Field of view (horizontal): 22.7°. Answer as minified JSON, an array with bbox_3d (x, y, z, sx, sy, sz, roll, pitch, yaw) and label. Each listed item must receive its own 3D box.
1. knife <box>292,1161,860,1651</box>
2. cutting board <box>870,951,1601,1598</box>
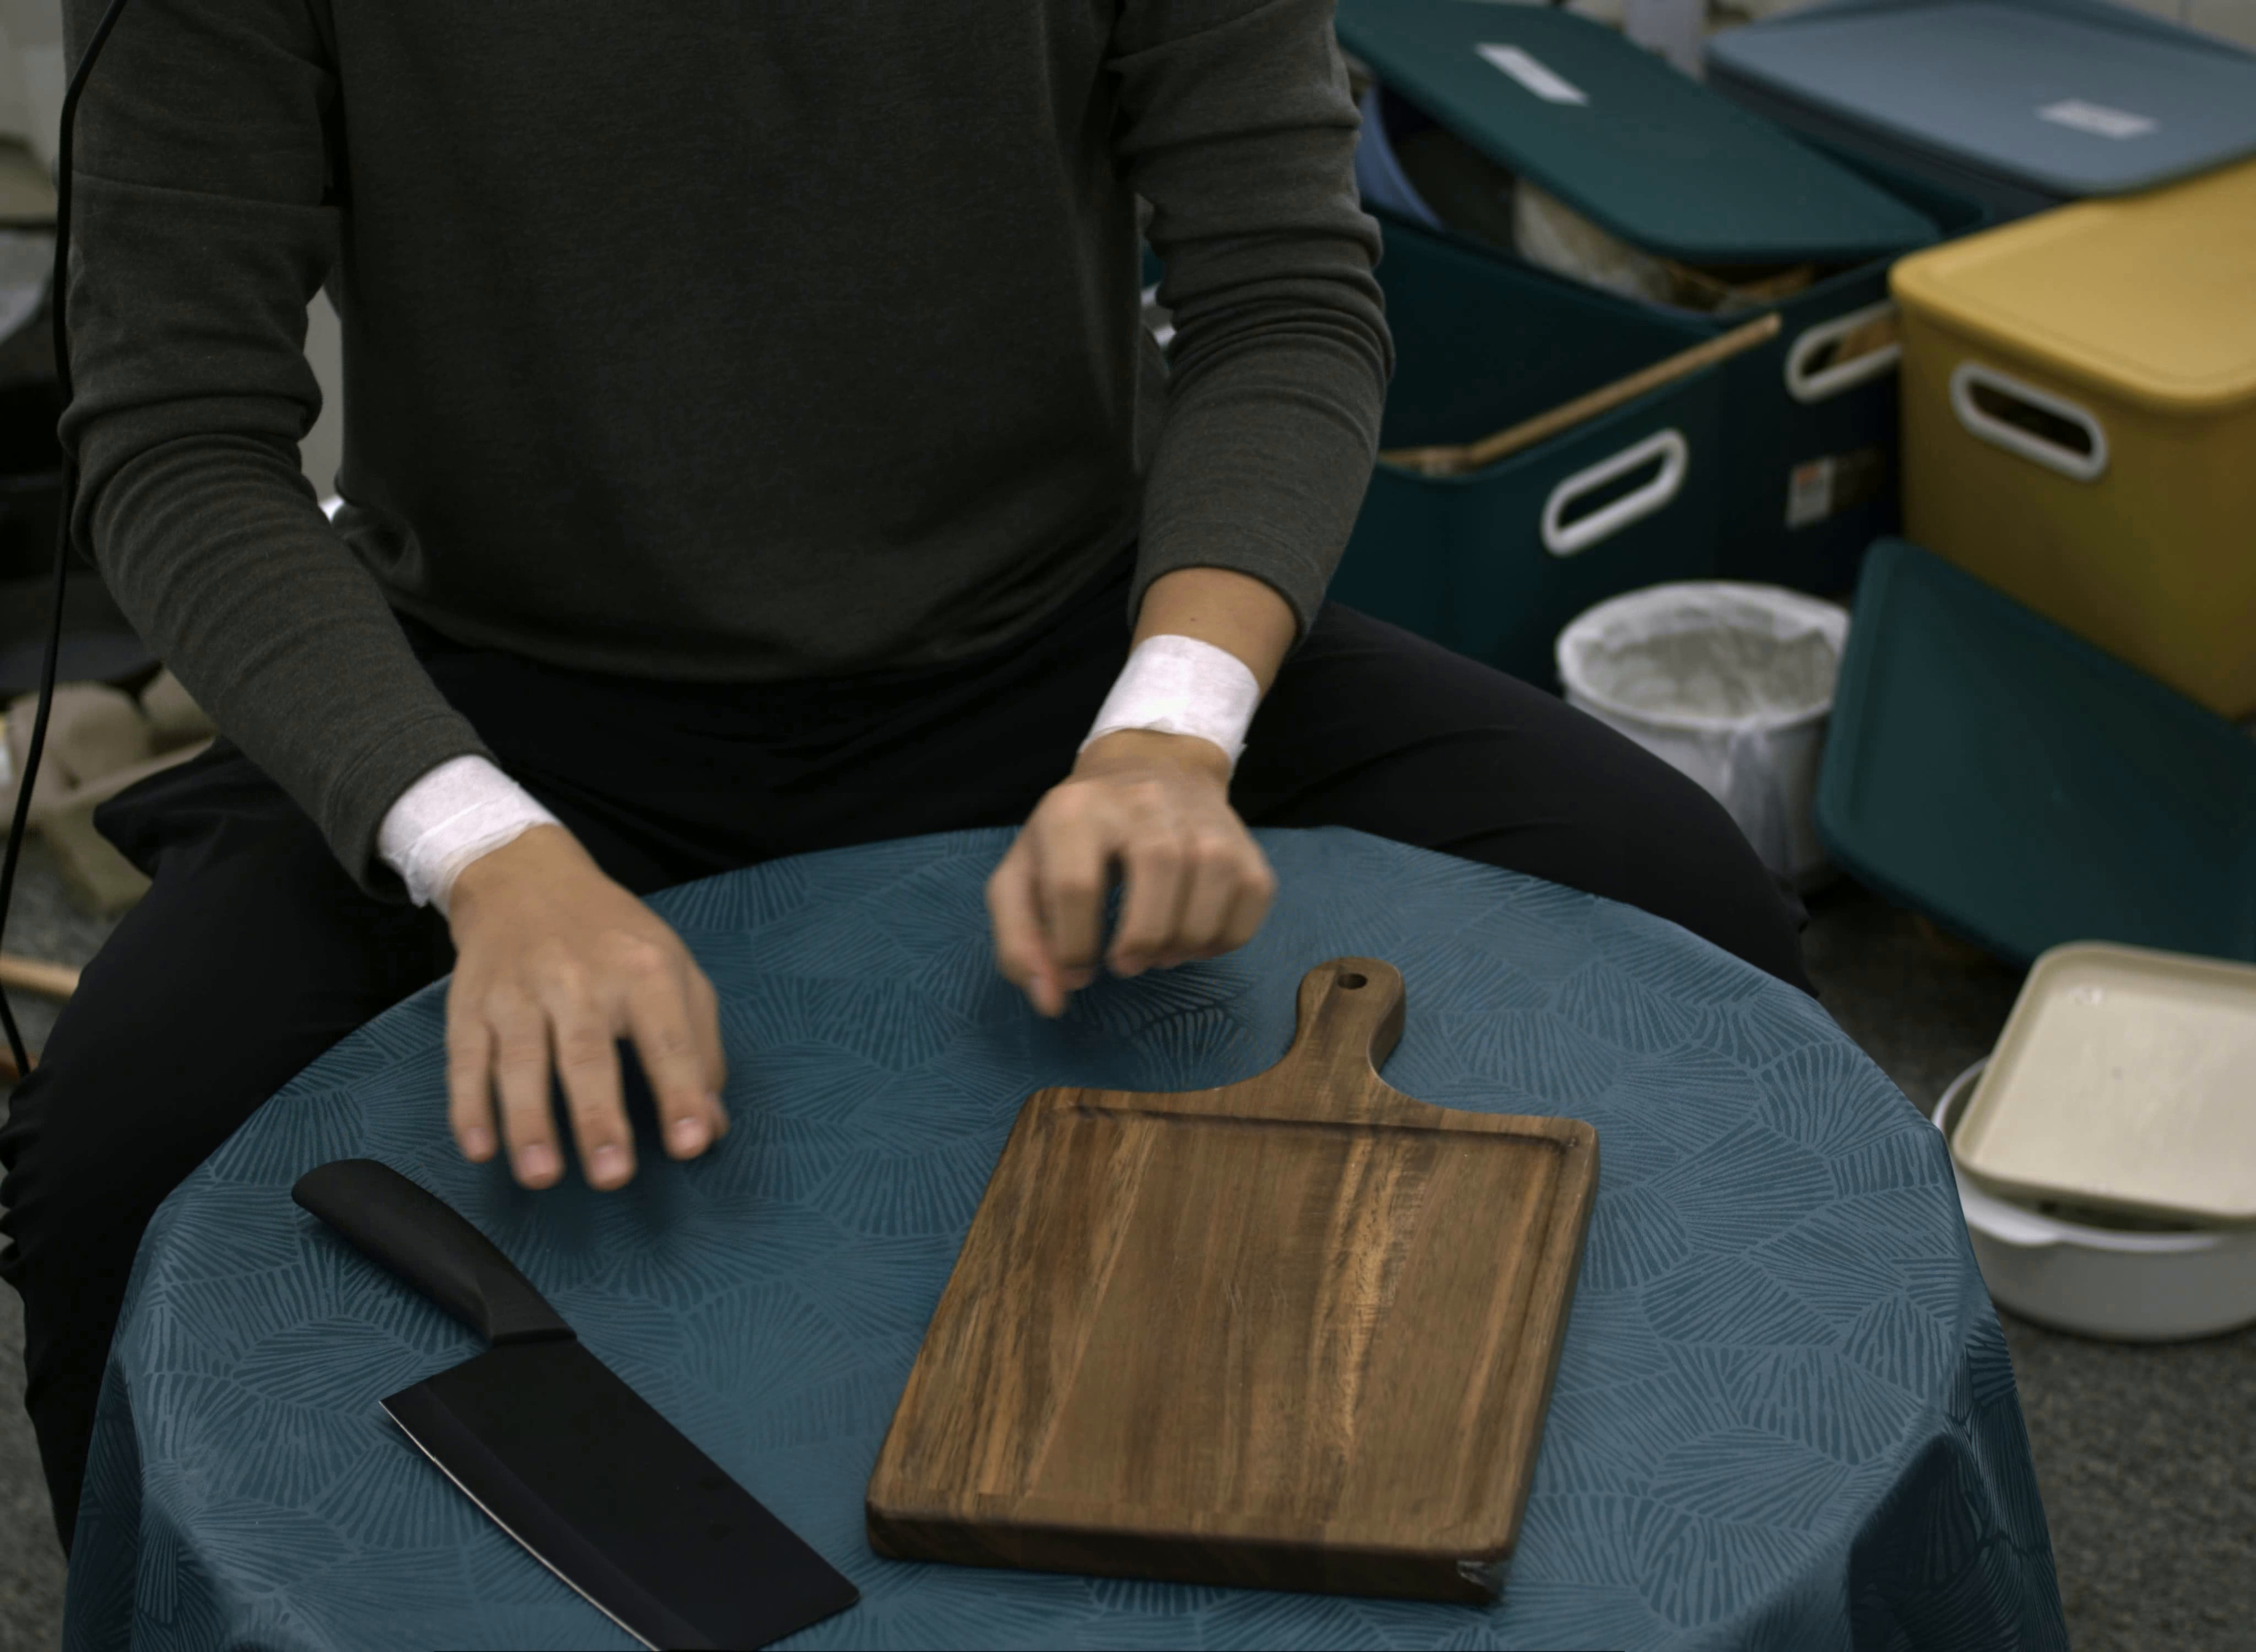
[{"bbox_3d":[-0.187,0.180,1.752,0.081,0.020,0.303,-18,33,-26],"label":"knife"},{"bbox_3d":[0.048,0.134,1.809,0.200,0.023,0.358,3,28,10],"label":"cutting board"}]
